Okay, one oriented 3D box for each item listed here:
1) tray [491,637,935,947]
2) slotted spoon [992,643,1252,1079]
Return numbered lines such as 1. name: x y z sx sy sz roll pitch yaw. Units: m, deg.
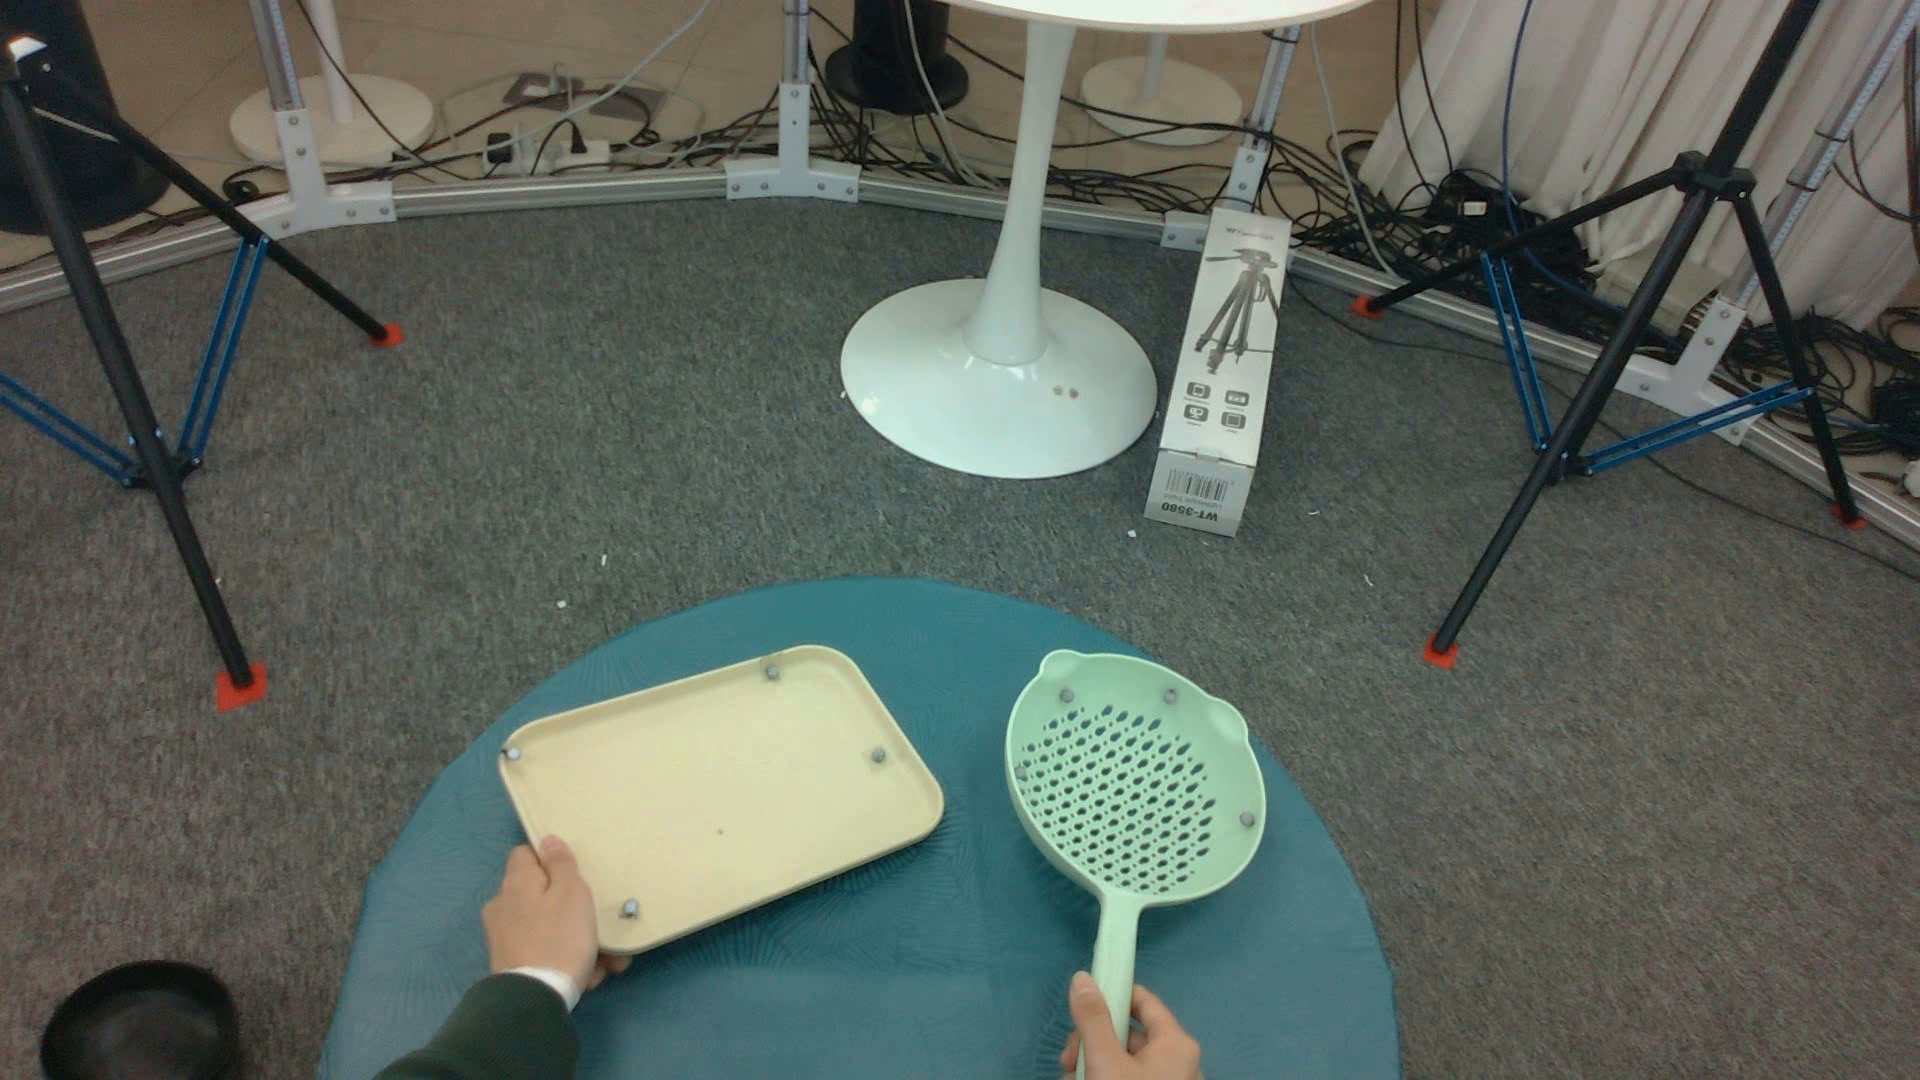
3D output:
1. tray: -0.147 0.146 0.840 0.240 0.017 0.171 -15 49 -32
2. slotted spoon: 0.081 0.212 0.782 0.169 0.075 0.360 18 39 -4
